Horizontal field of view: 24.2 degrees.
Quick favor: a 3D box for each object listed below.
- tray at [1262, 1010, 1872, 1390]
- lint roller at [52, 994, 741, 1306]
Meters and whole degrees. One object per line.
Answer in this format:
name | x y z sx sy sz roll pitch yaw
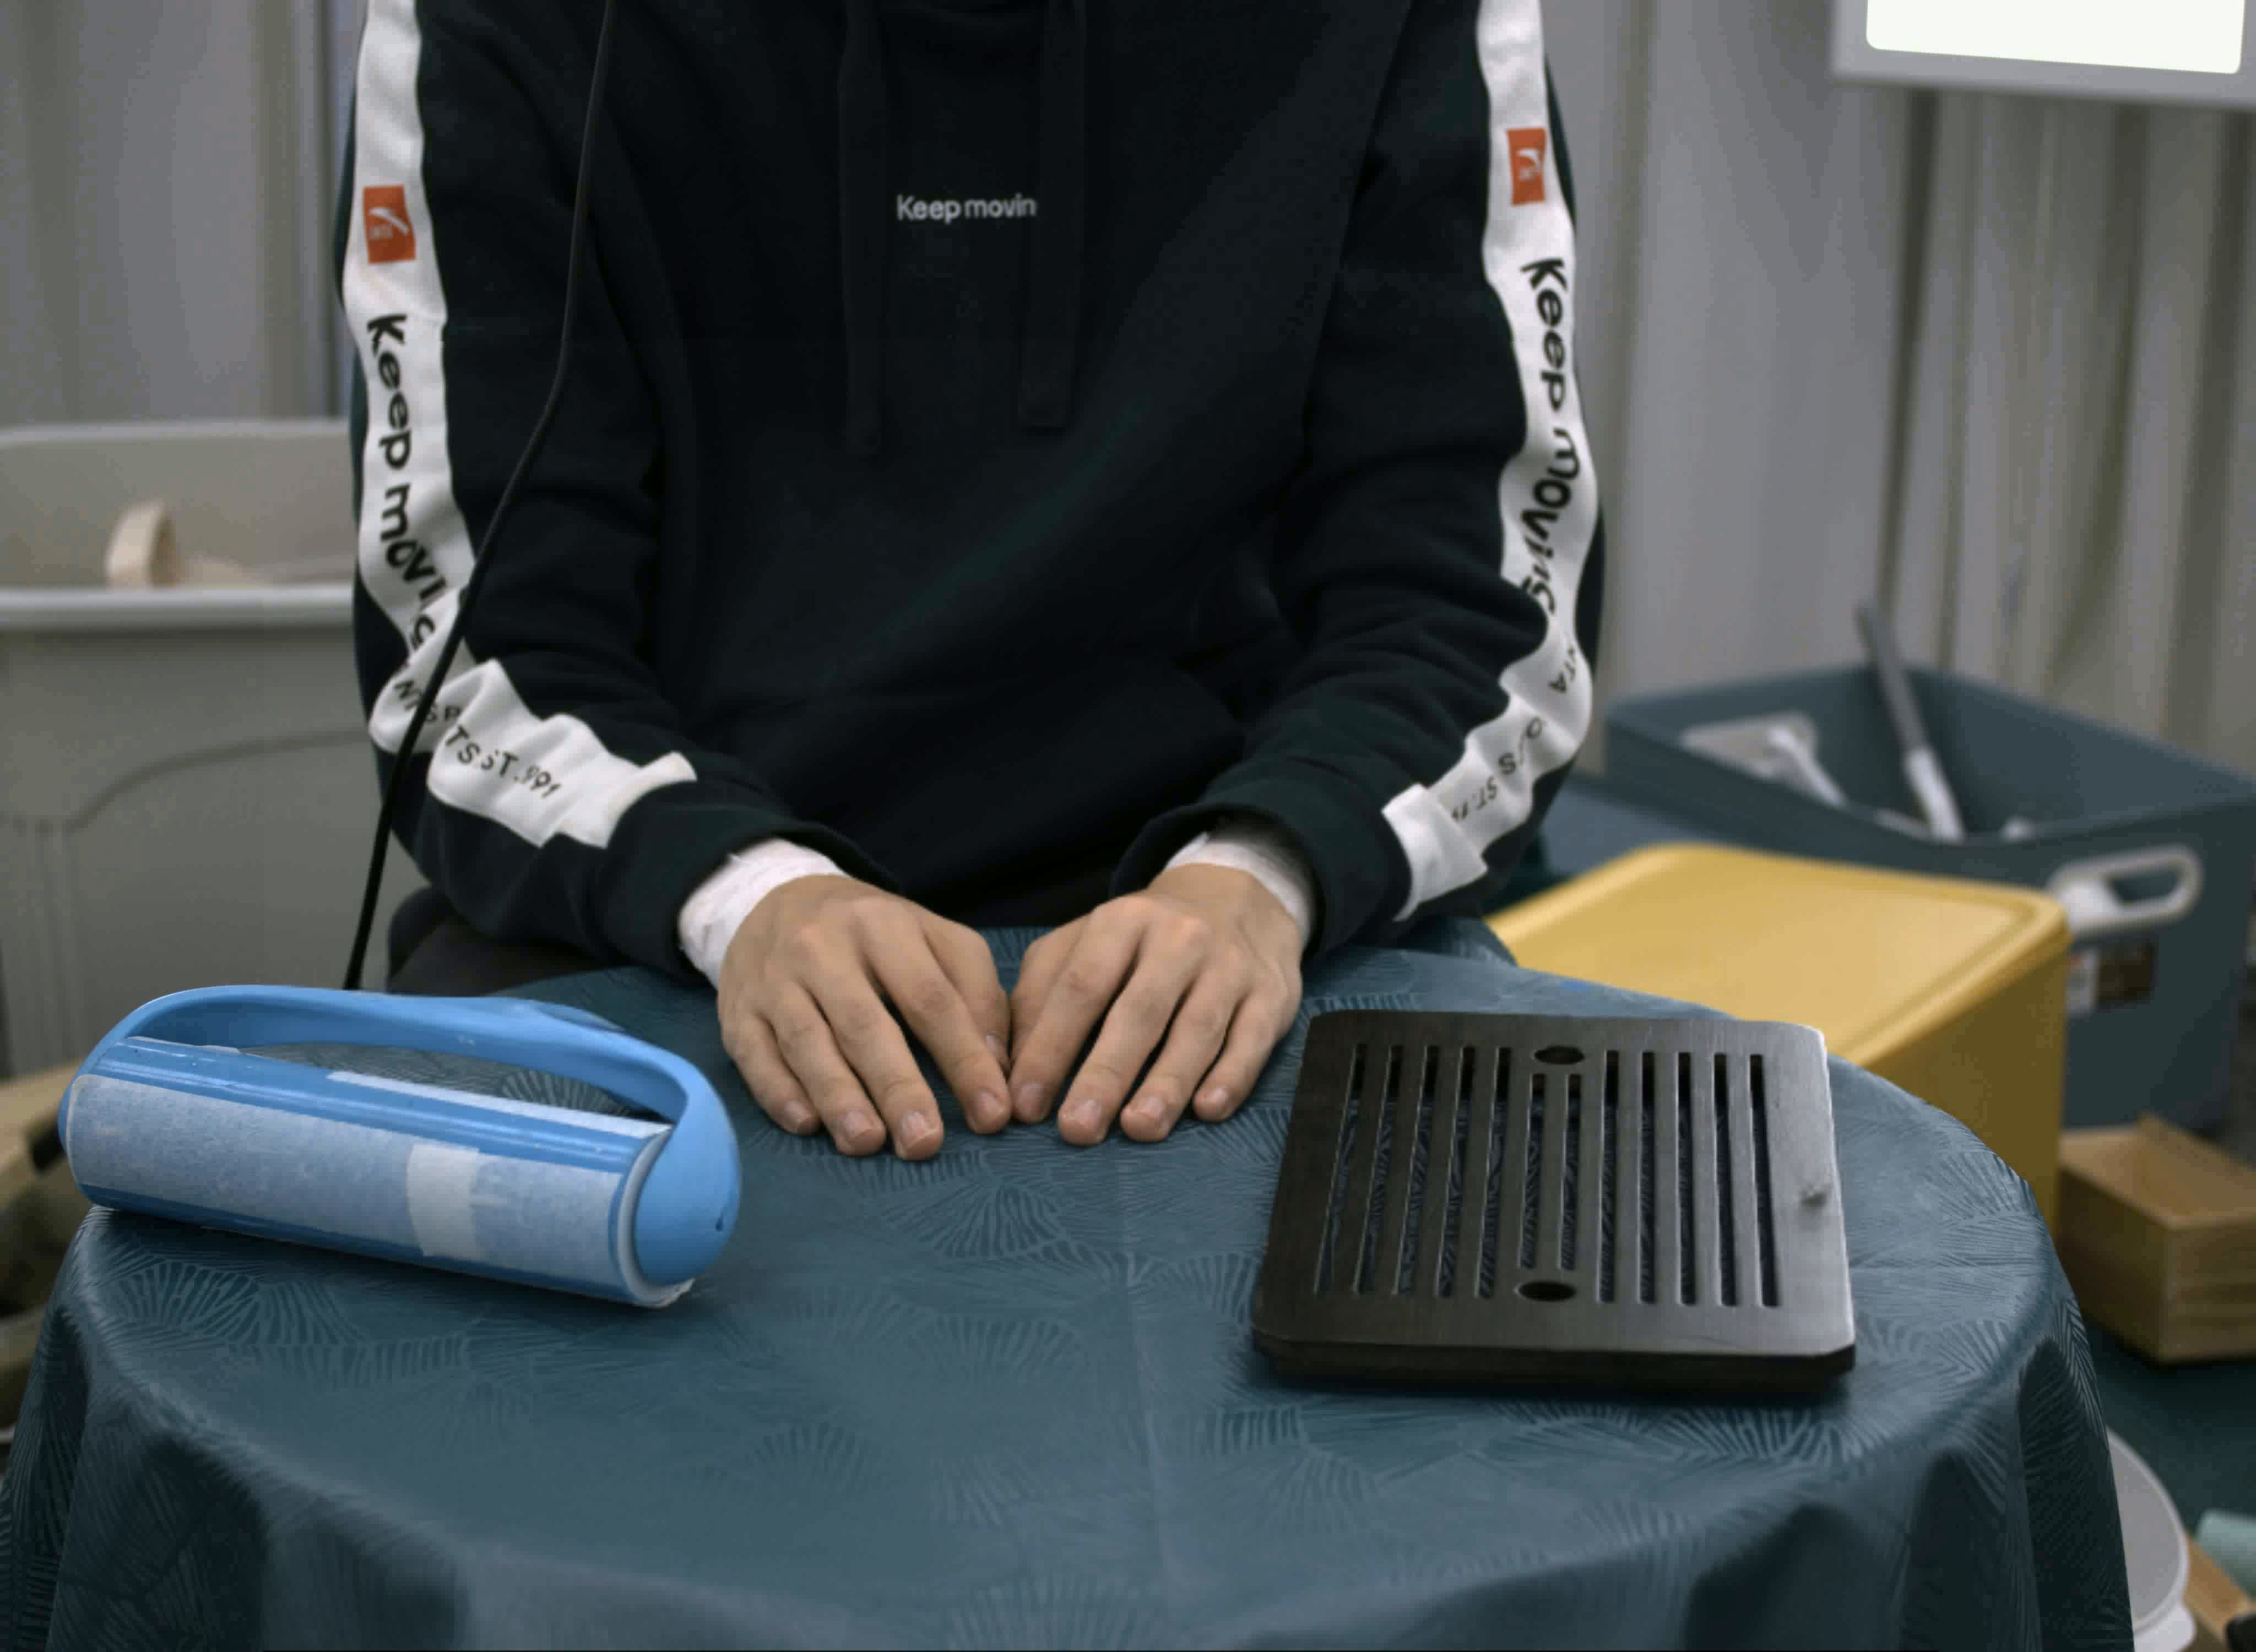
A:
tray | 0.133 0.110 1.596 0.169 0.019 0.305 1 15 4
lint roller | -0.195 0.085 1.604 0.226 0.068 0.180 5 18 22
